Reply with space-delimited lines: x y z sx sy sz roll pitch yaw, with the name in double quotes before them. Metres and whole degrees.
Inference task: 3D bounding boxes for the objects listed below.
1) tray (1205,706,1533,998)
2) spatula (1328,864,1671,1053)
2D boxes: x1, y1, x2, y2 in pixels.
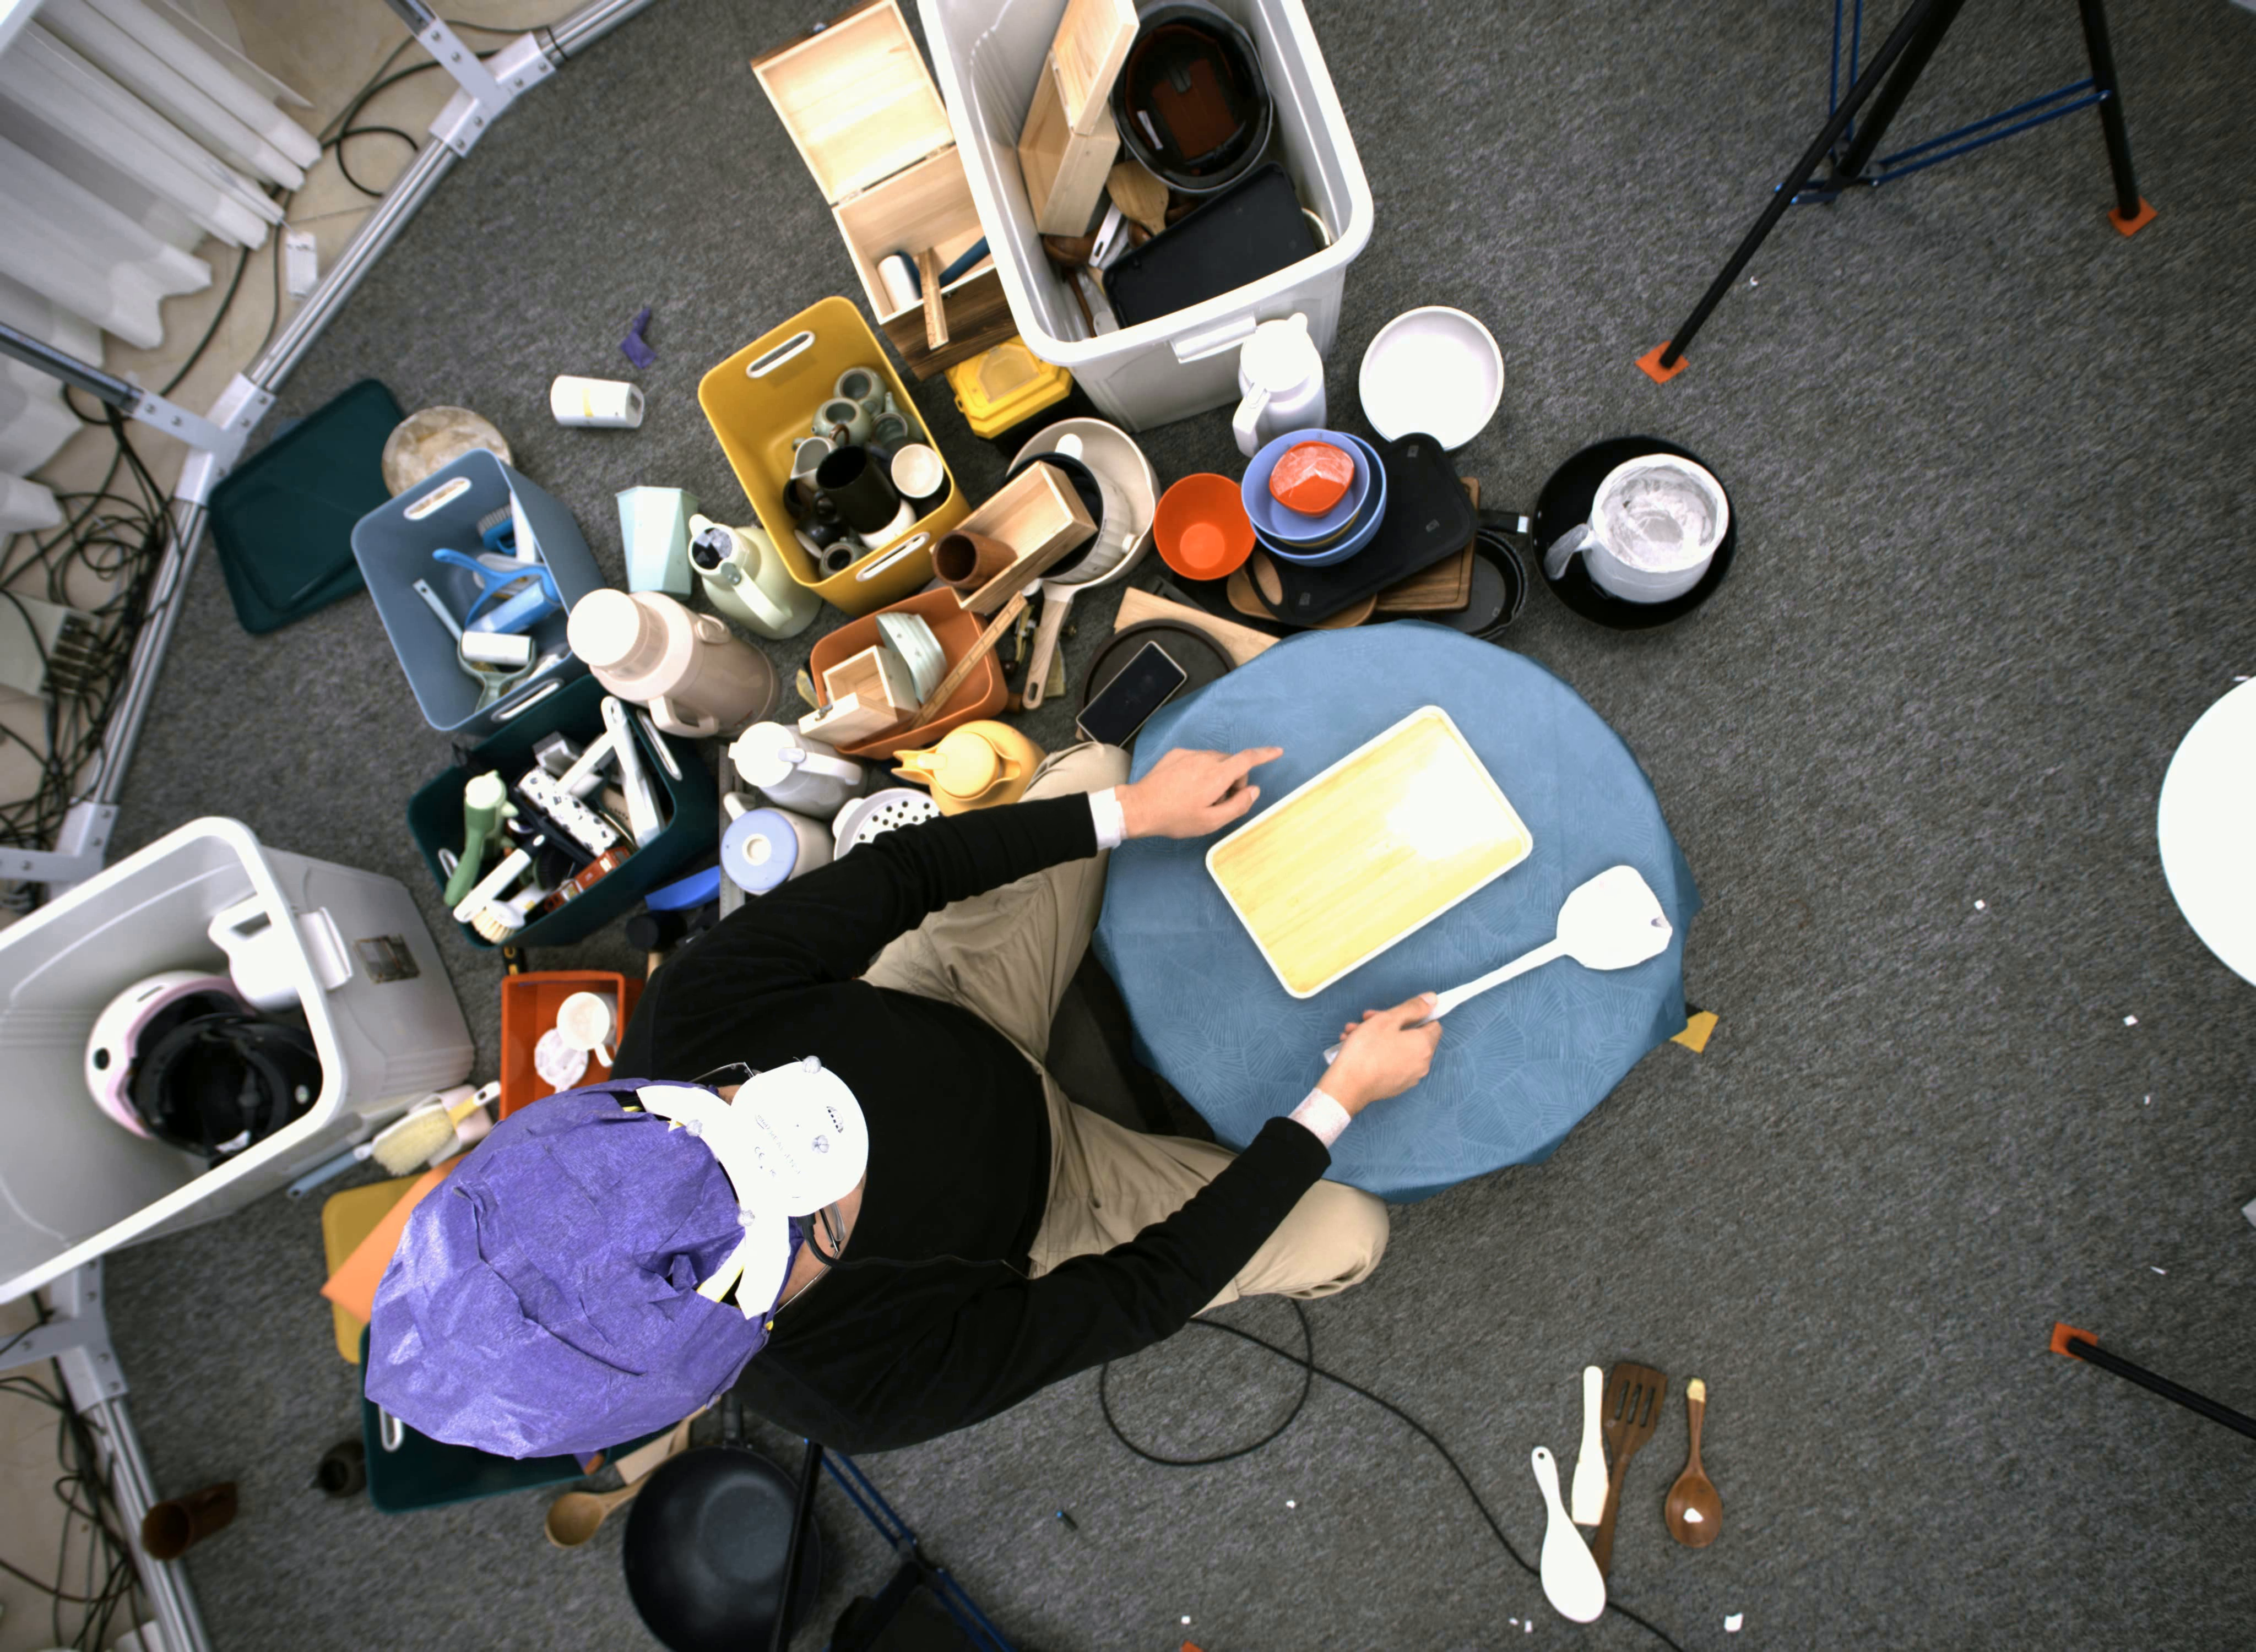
"tray" 0.251 0.026 1.452 0.302 0.027 0.190 -33 82 7
"spatula" 0.373 0.150 1.403 0.365 0.045 0.098 -25 80 0
